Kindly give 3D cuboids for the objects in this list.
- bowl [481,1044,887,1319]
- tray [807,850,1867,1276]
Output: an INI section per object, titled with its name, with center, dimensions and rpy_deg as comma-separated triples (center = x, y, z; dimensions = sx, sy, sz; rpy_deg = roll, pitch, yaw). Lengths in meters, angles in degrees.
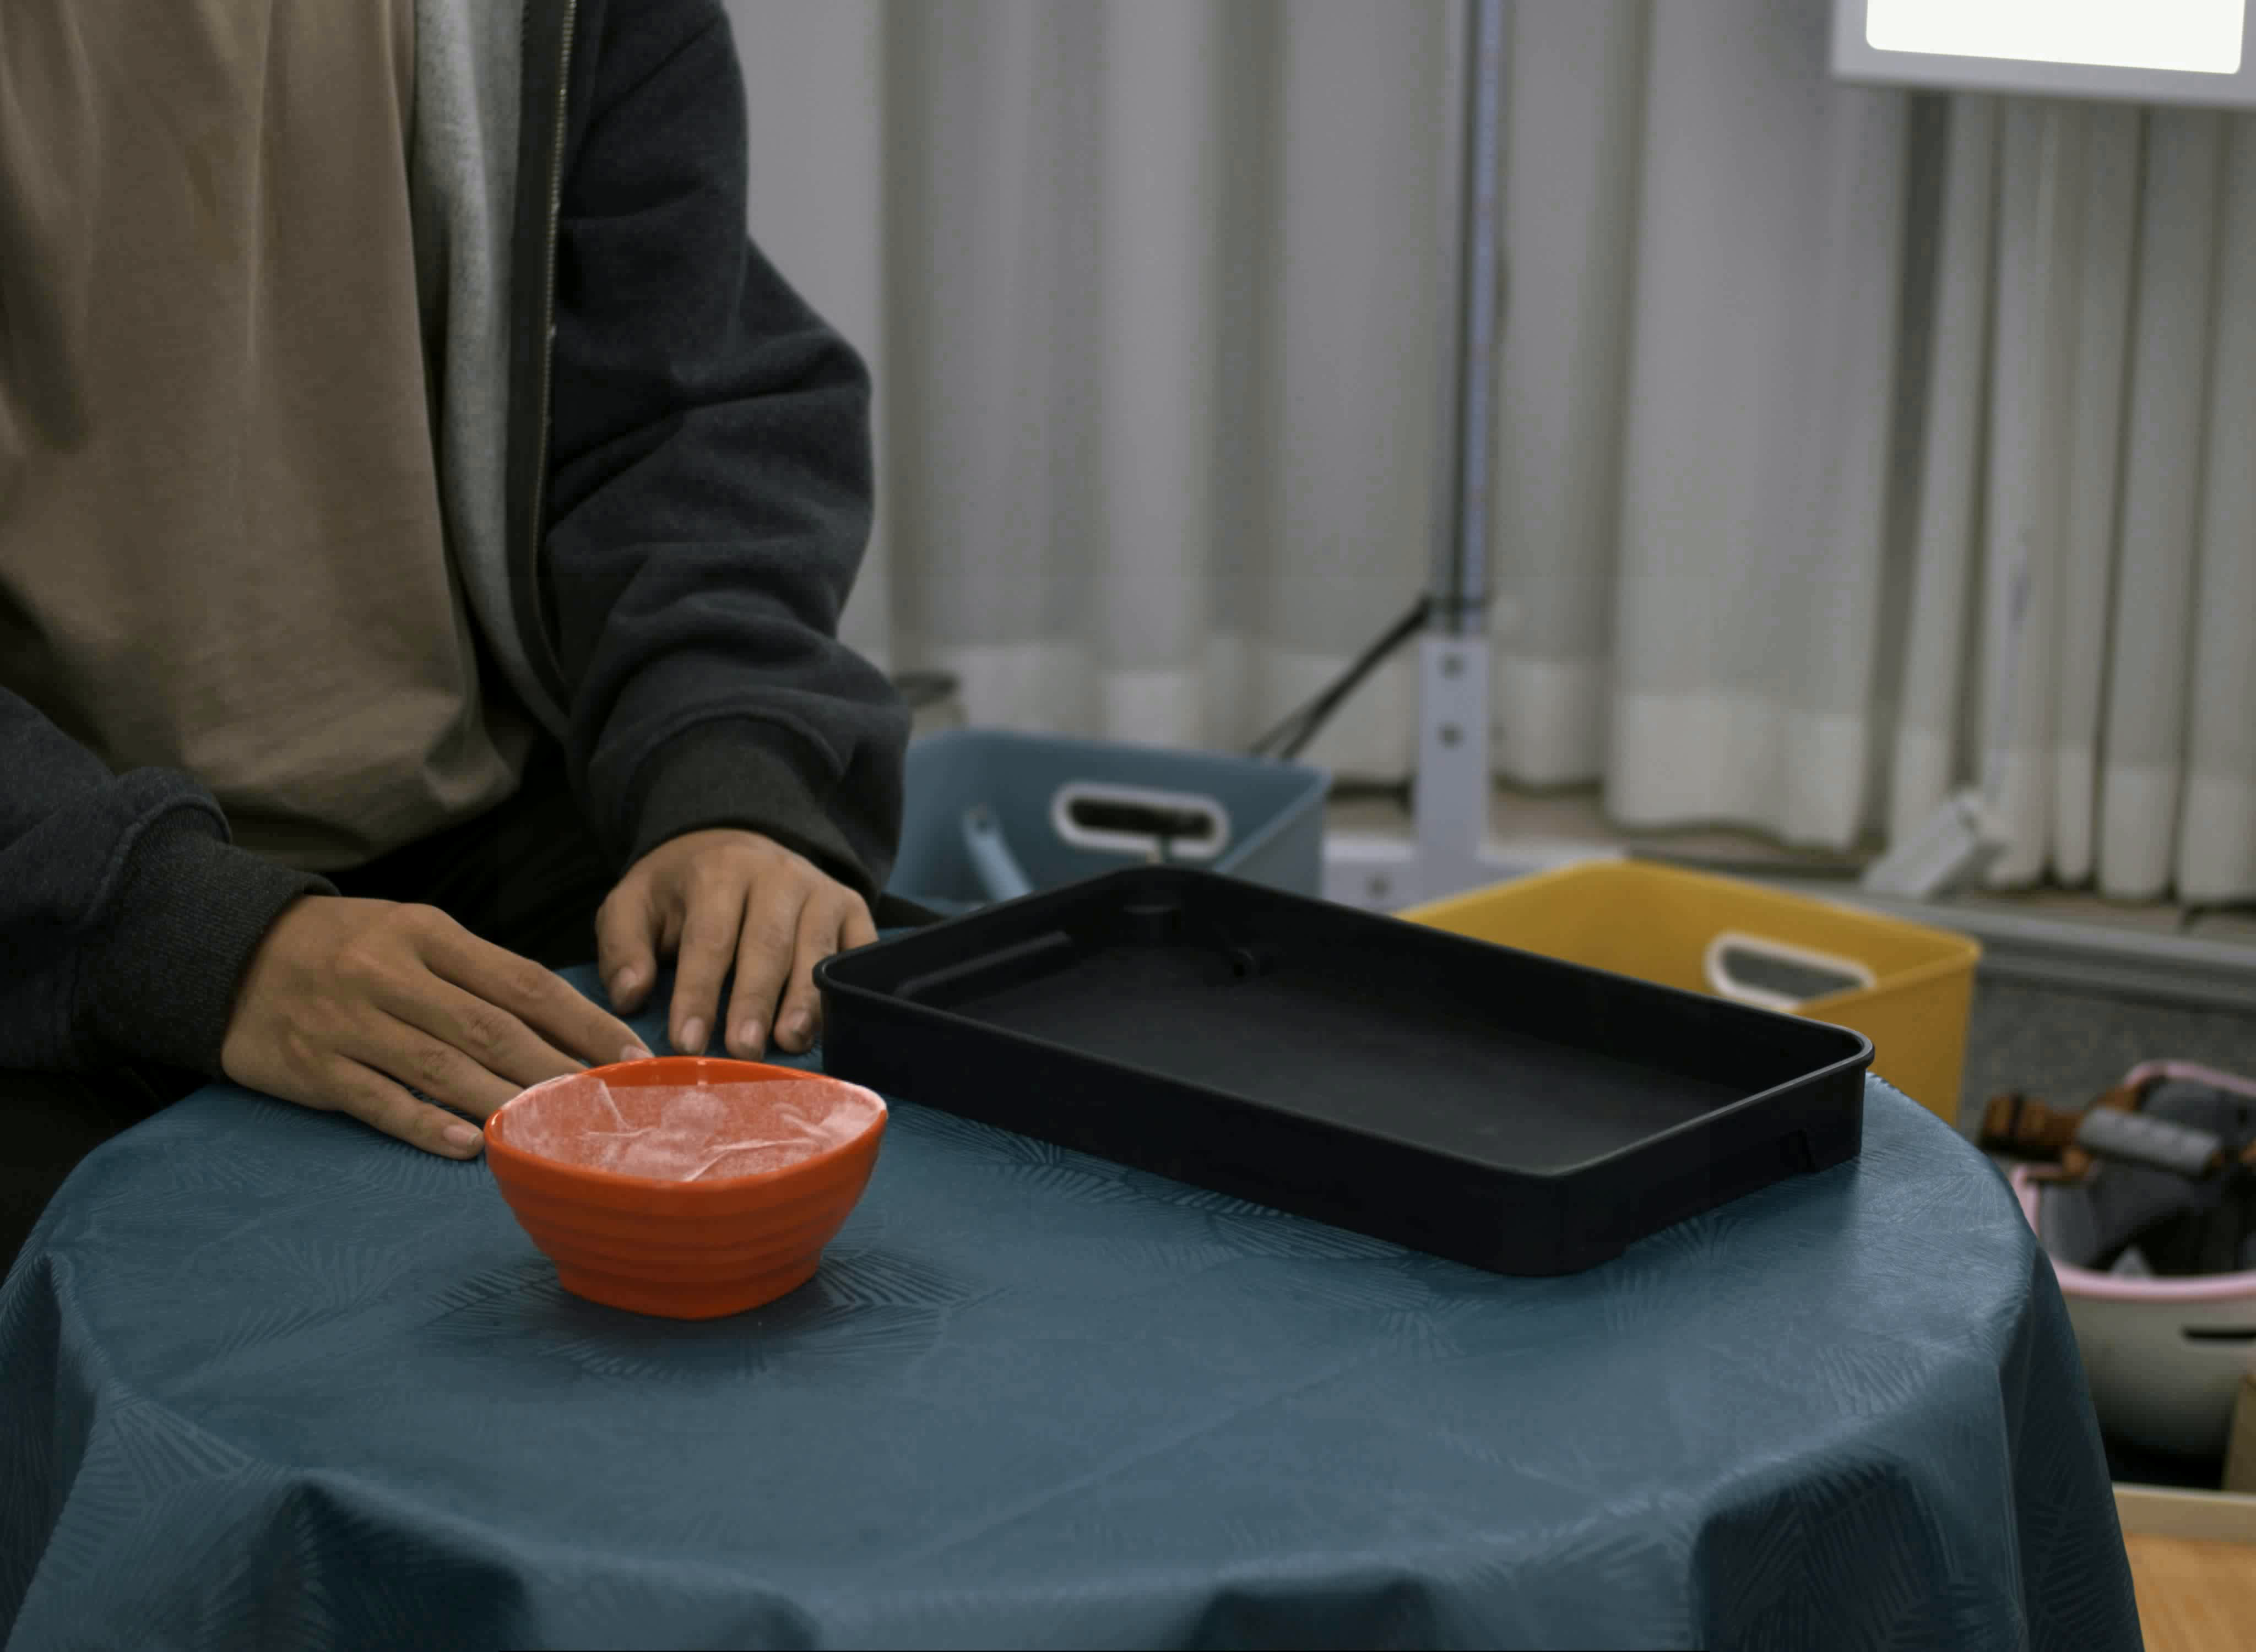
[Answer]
[bowl]
center = -0.129, 0.106, 1.538
dimensions = 0.118, 0.052, 0.118
rpy_deg = 2, 18, 0
[tray]
center = 0.063, 0.071, 1.699
dimensions = 0.314, 0.037, 0.185
rpy_deg = 15, 21, 39
